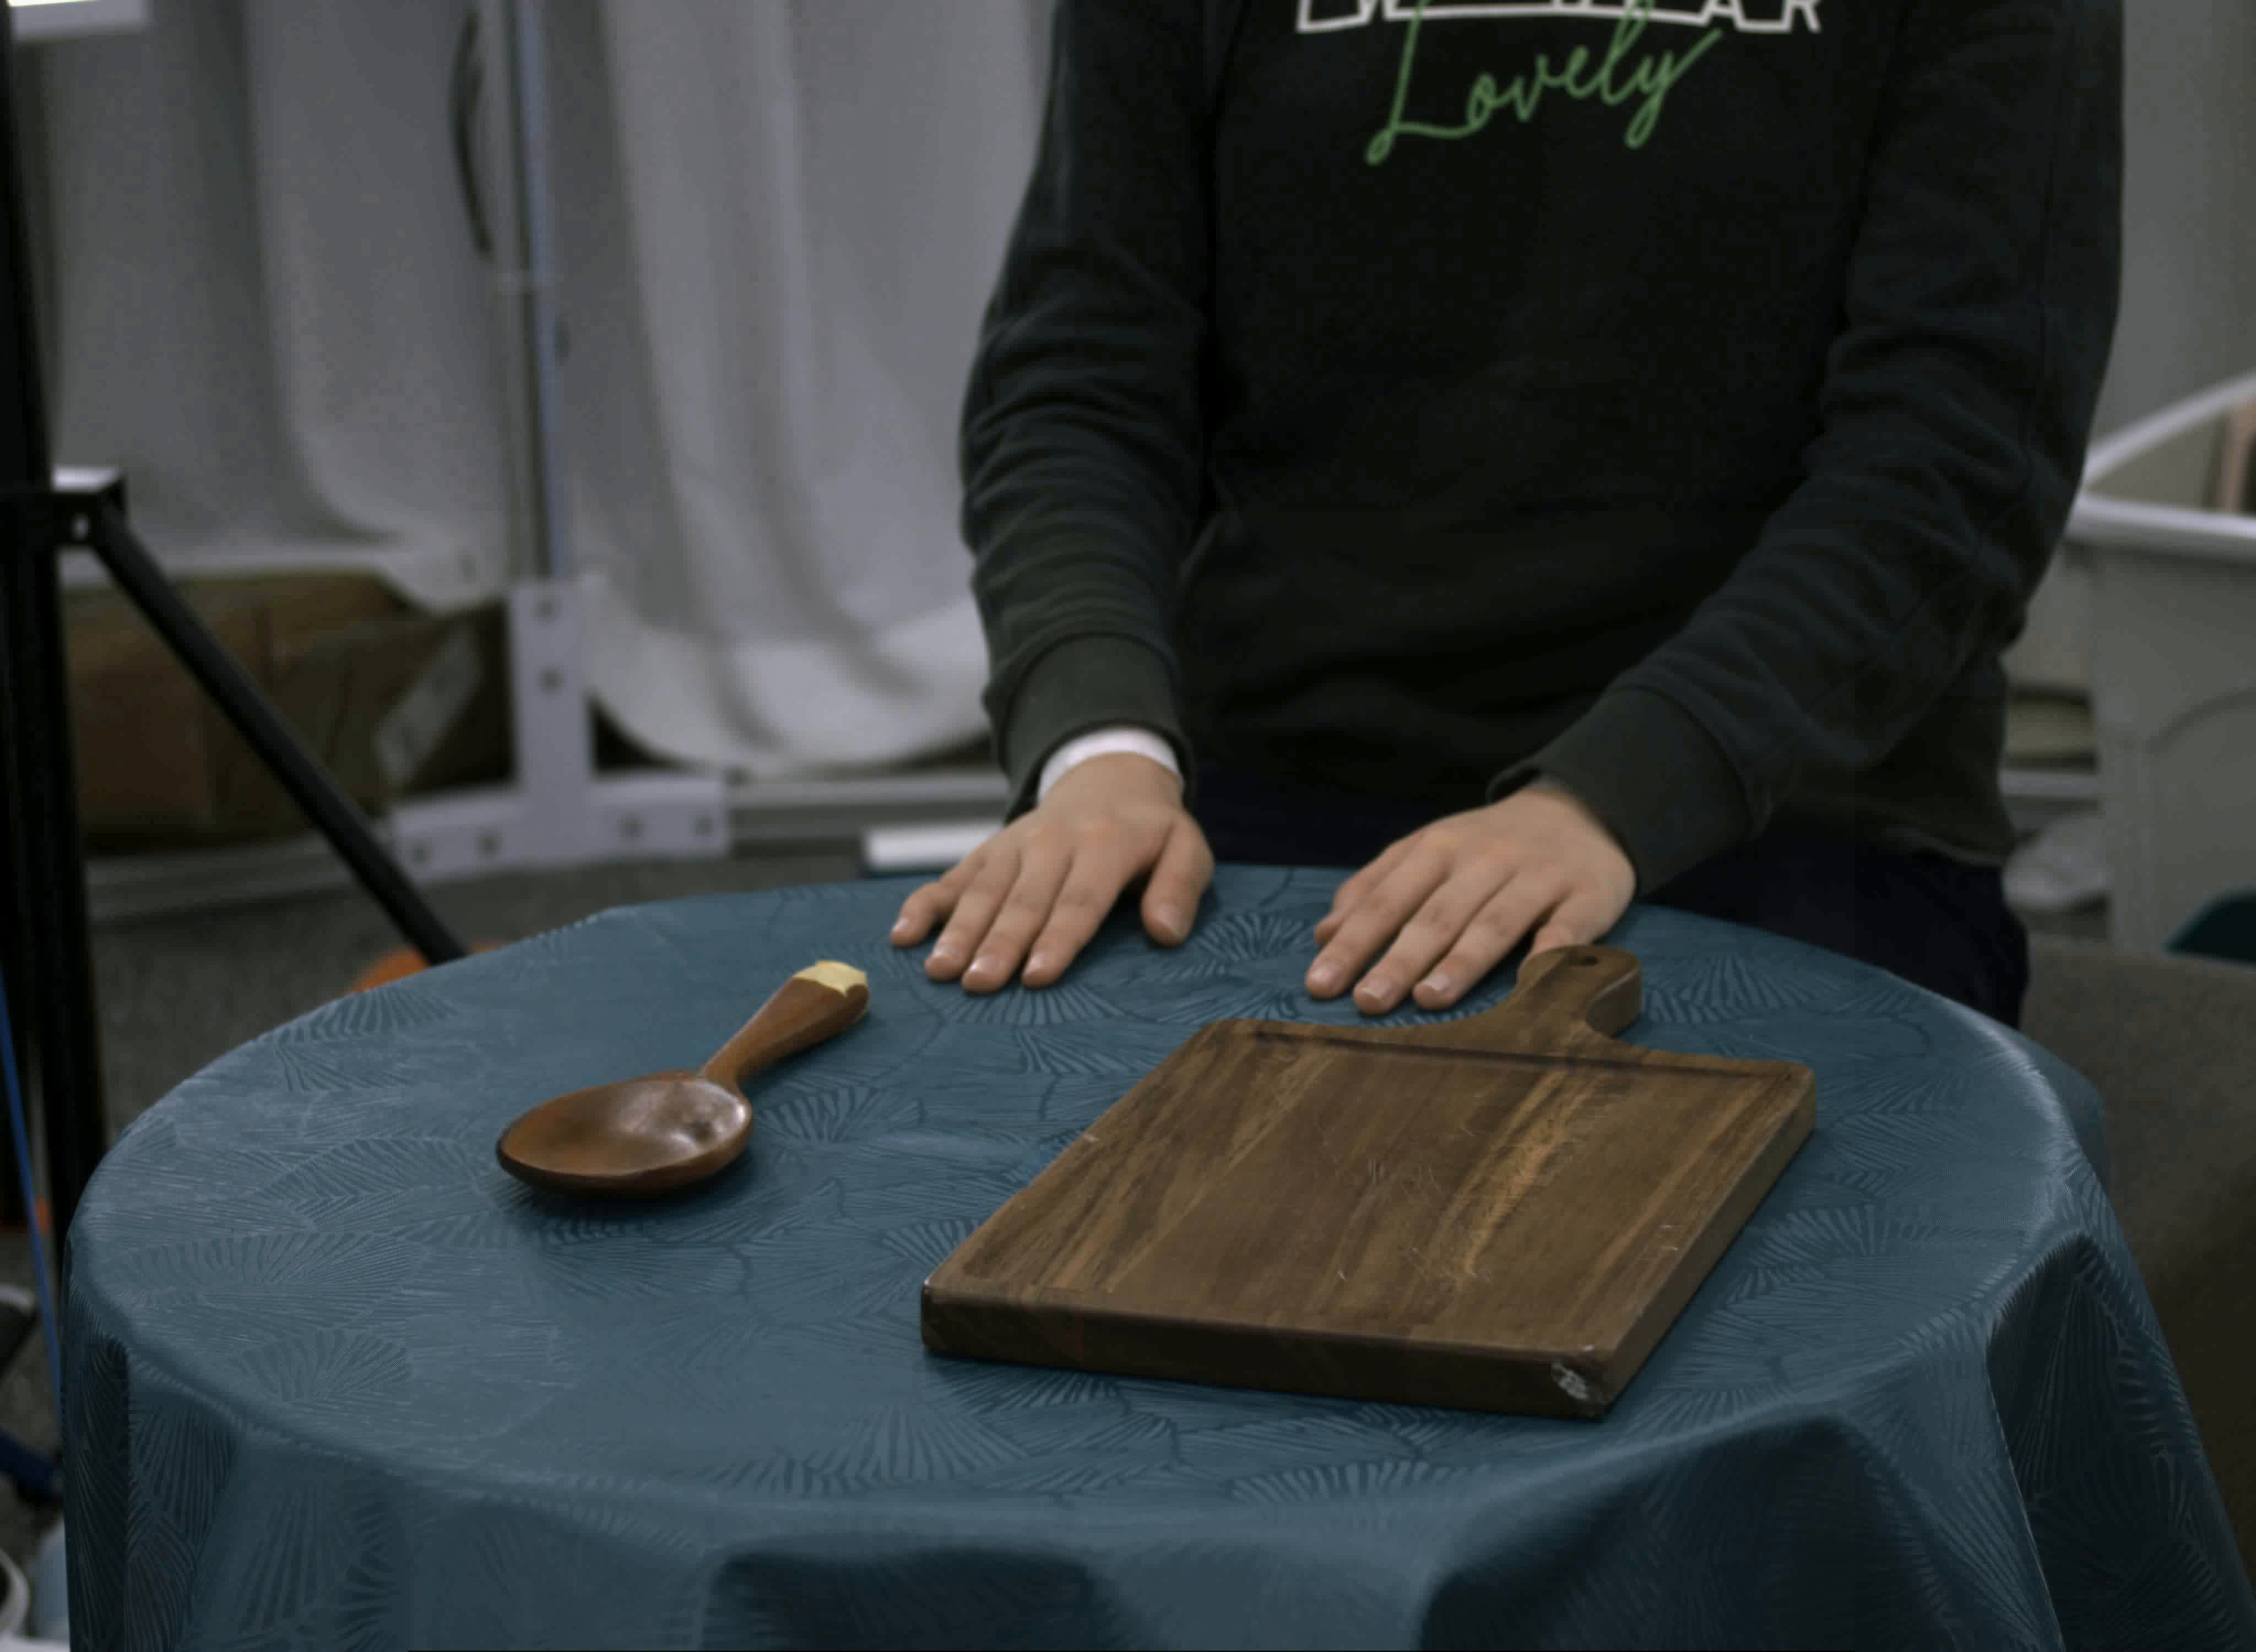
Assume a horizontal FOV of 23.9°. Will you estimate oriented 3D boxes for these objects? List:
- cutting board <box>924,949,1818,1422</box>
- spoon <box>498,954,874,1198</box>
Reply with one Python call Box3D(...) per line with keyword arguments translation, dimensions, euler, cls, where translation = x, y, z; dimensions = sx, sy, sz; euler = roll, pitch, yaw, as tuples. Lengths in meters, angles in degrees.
Box3D(translation=(0.092, 0.096, 1.554), dimensions=(0.203, 0.023, 0.348), euler=(2, 16, 21), cls="cutting board")
Box3D(translation=(-0.127, 0.079, 1.650), dimensions=(0.076, 0.017, 0.213), euler=(1, 17, 21), cls="spoon")
